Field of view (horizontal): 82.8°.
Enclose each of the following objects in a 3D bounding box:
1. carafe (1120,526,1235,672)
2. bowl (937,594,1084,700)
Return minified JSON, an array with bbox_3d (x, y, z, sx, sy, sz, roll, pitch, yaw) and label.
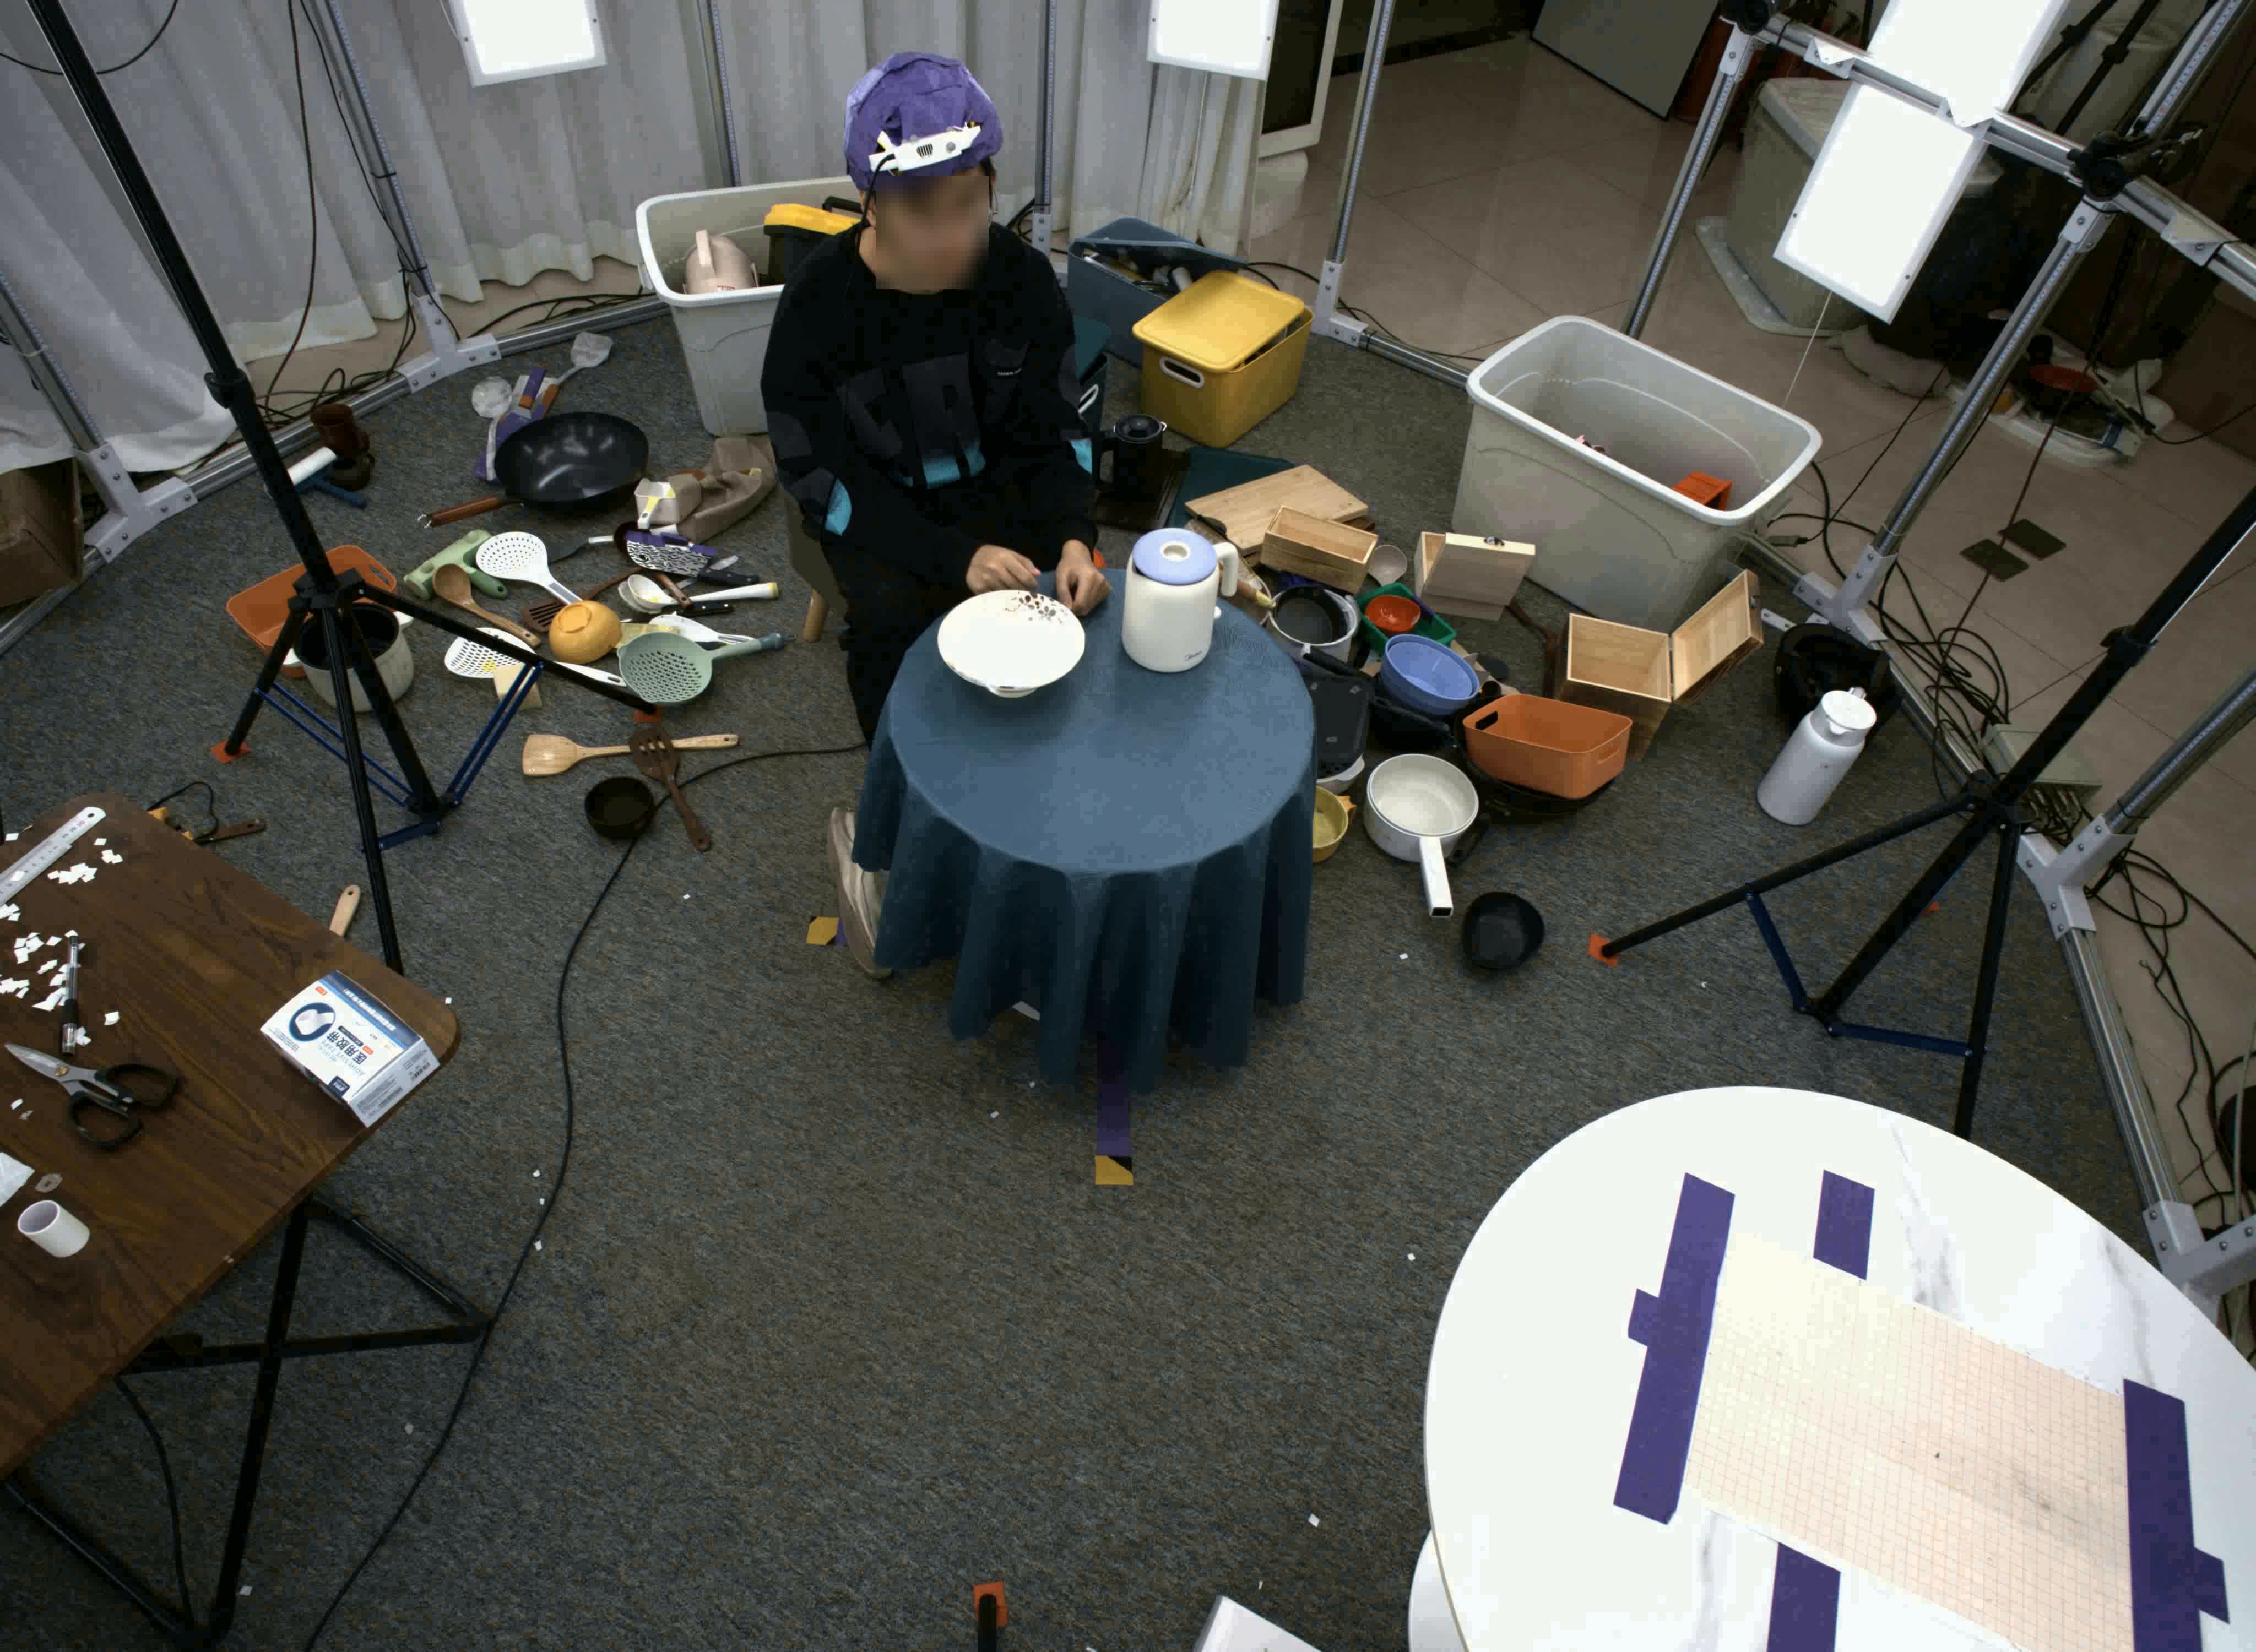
[{"bbox_3d":[0.079,-0.334,1.853,0.192,0.178,0.134,-26,57,-27],"label":"carafe"},{"bbox_3d":[-0.164,-0.235,1.814,0.204,0.076,0.209,2,46,-2],"label":"bowl"}]
